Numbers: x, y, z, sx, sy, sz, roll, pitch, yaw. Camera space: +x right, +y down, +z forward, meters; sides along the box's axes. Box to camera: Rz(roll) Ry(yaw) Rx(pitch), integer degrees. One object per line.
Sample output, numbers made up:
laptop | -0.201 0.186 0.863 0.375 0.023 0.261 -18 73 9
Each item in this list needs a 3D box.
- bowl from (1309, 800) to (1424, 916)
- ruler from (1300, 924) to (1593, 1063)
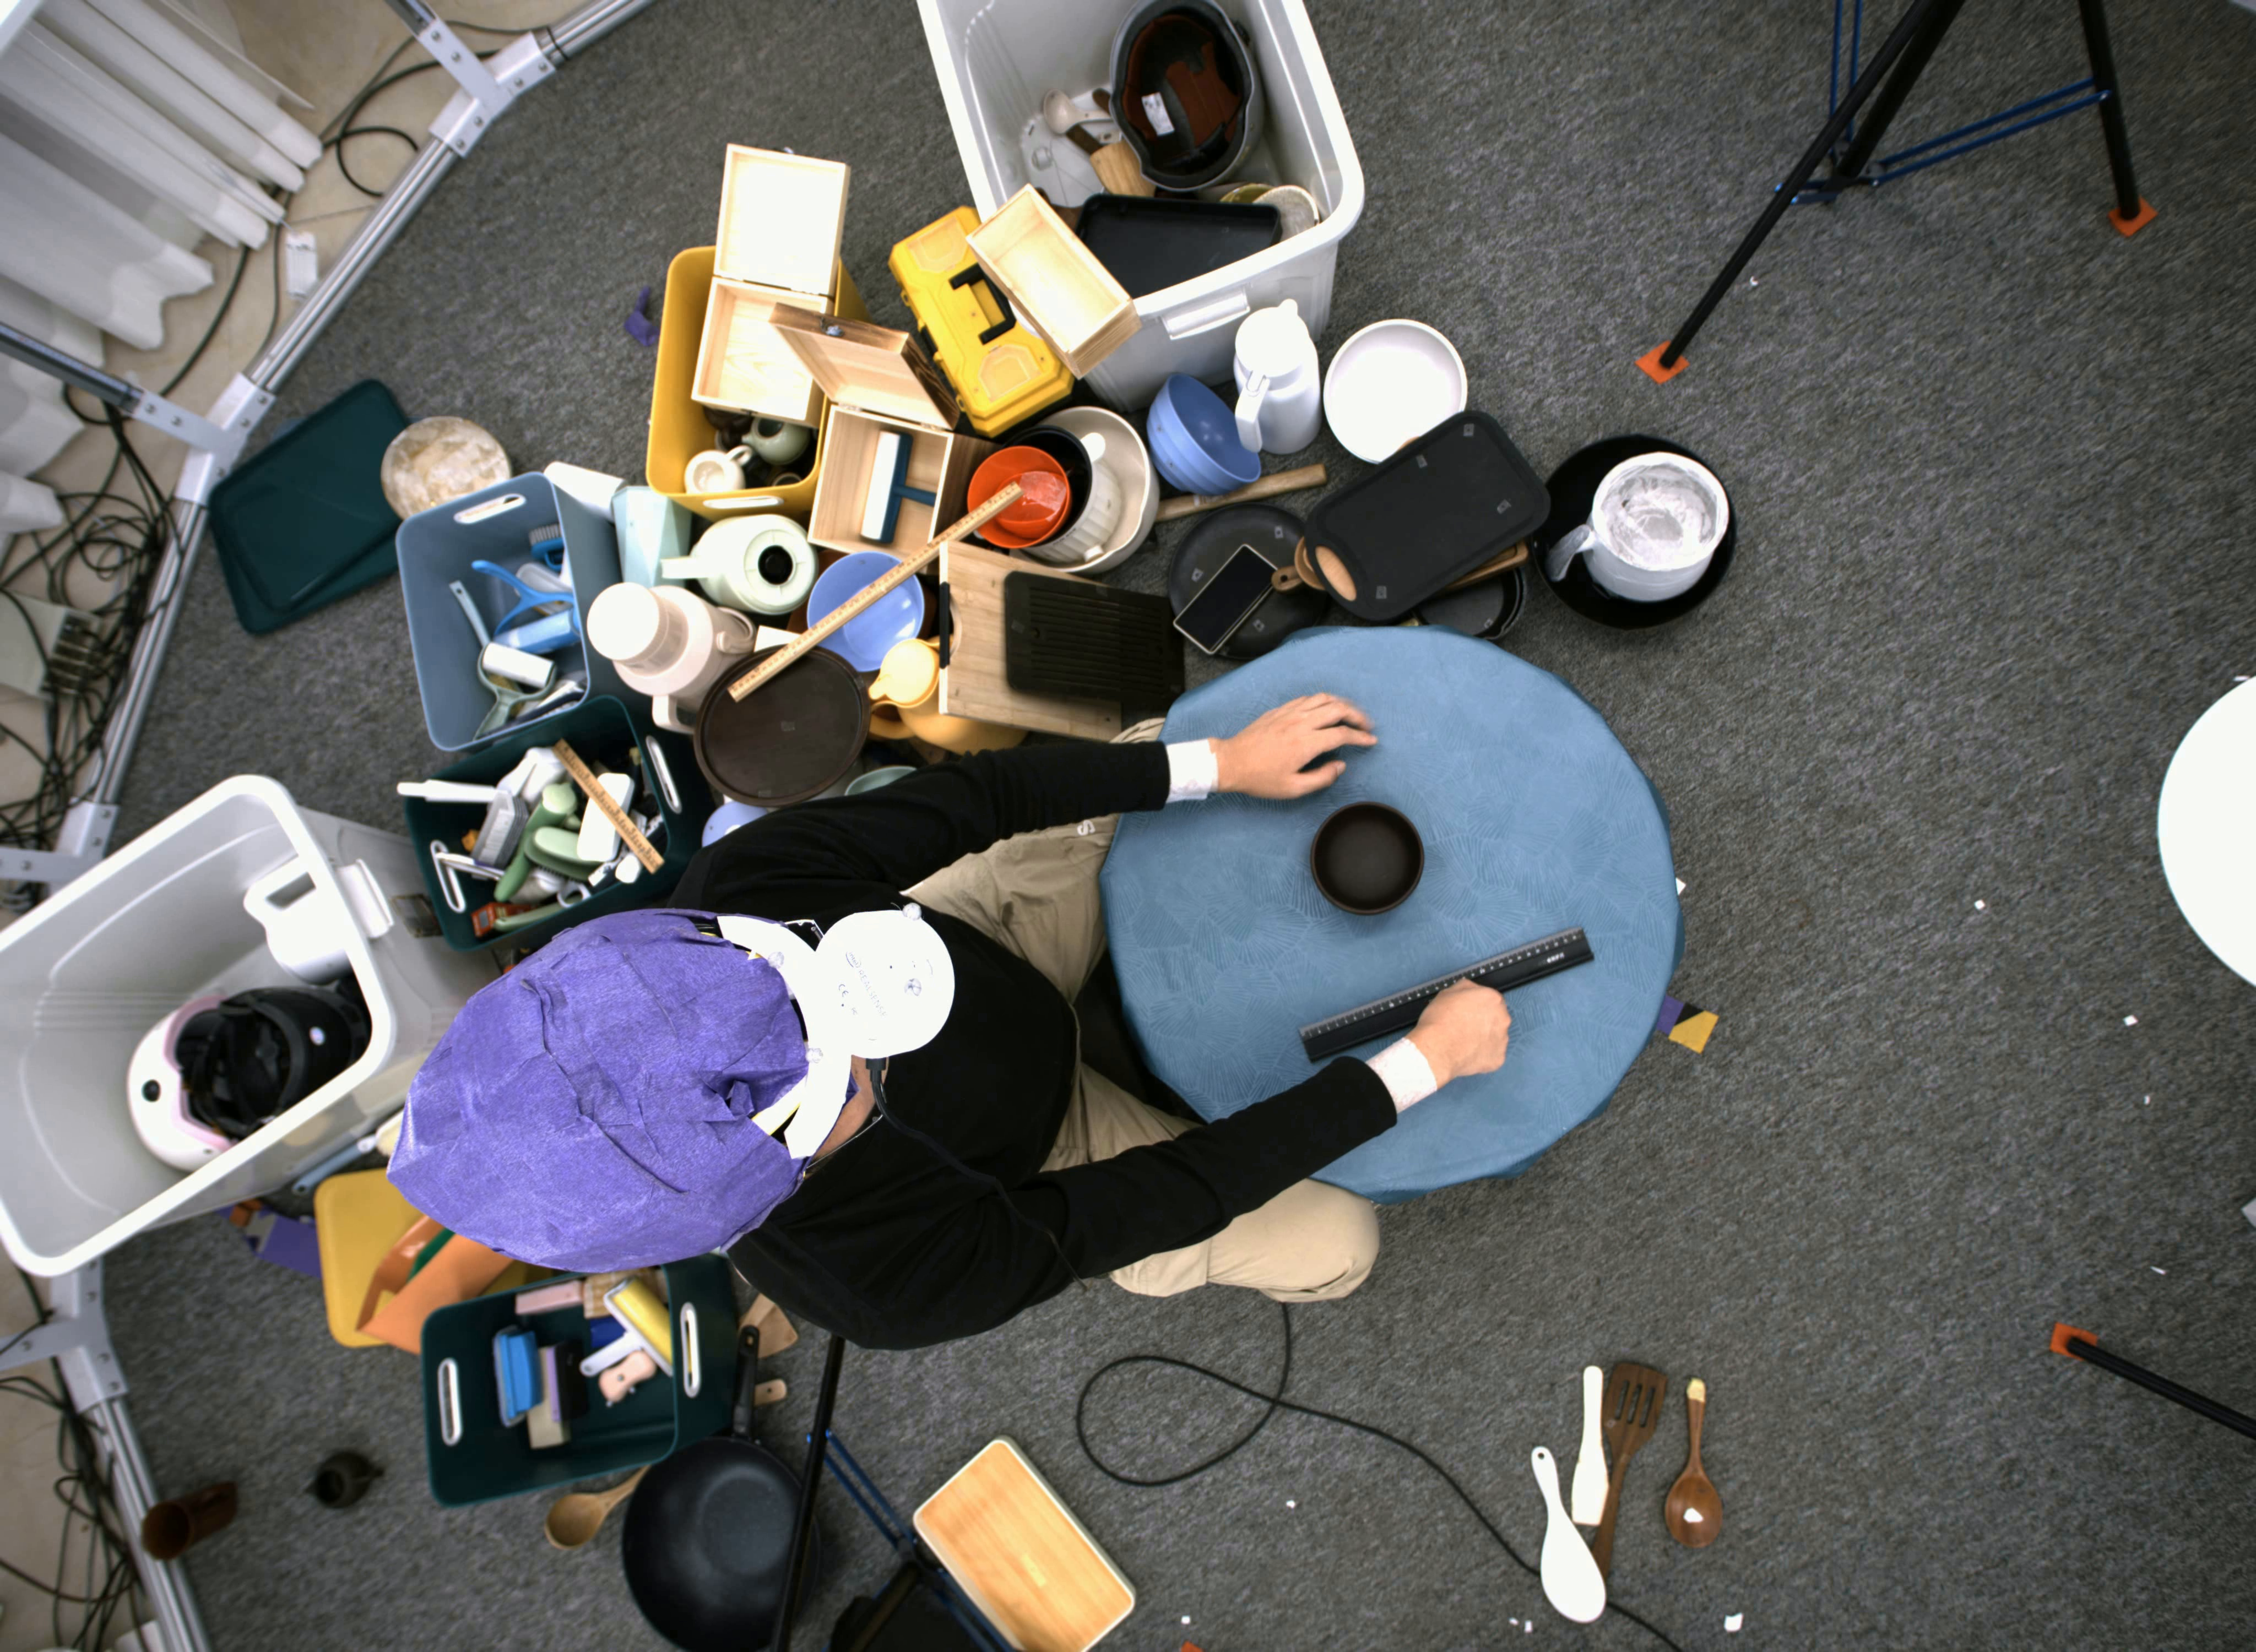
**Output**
bowl | 0.246 0.034 1.429 0.118 0.070 0.117 -1 85 10
ruler | 0.330 0.172 1.435 0.314 0.017 0.039 -23 82 9
